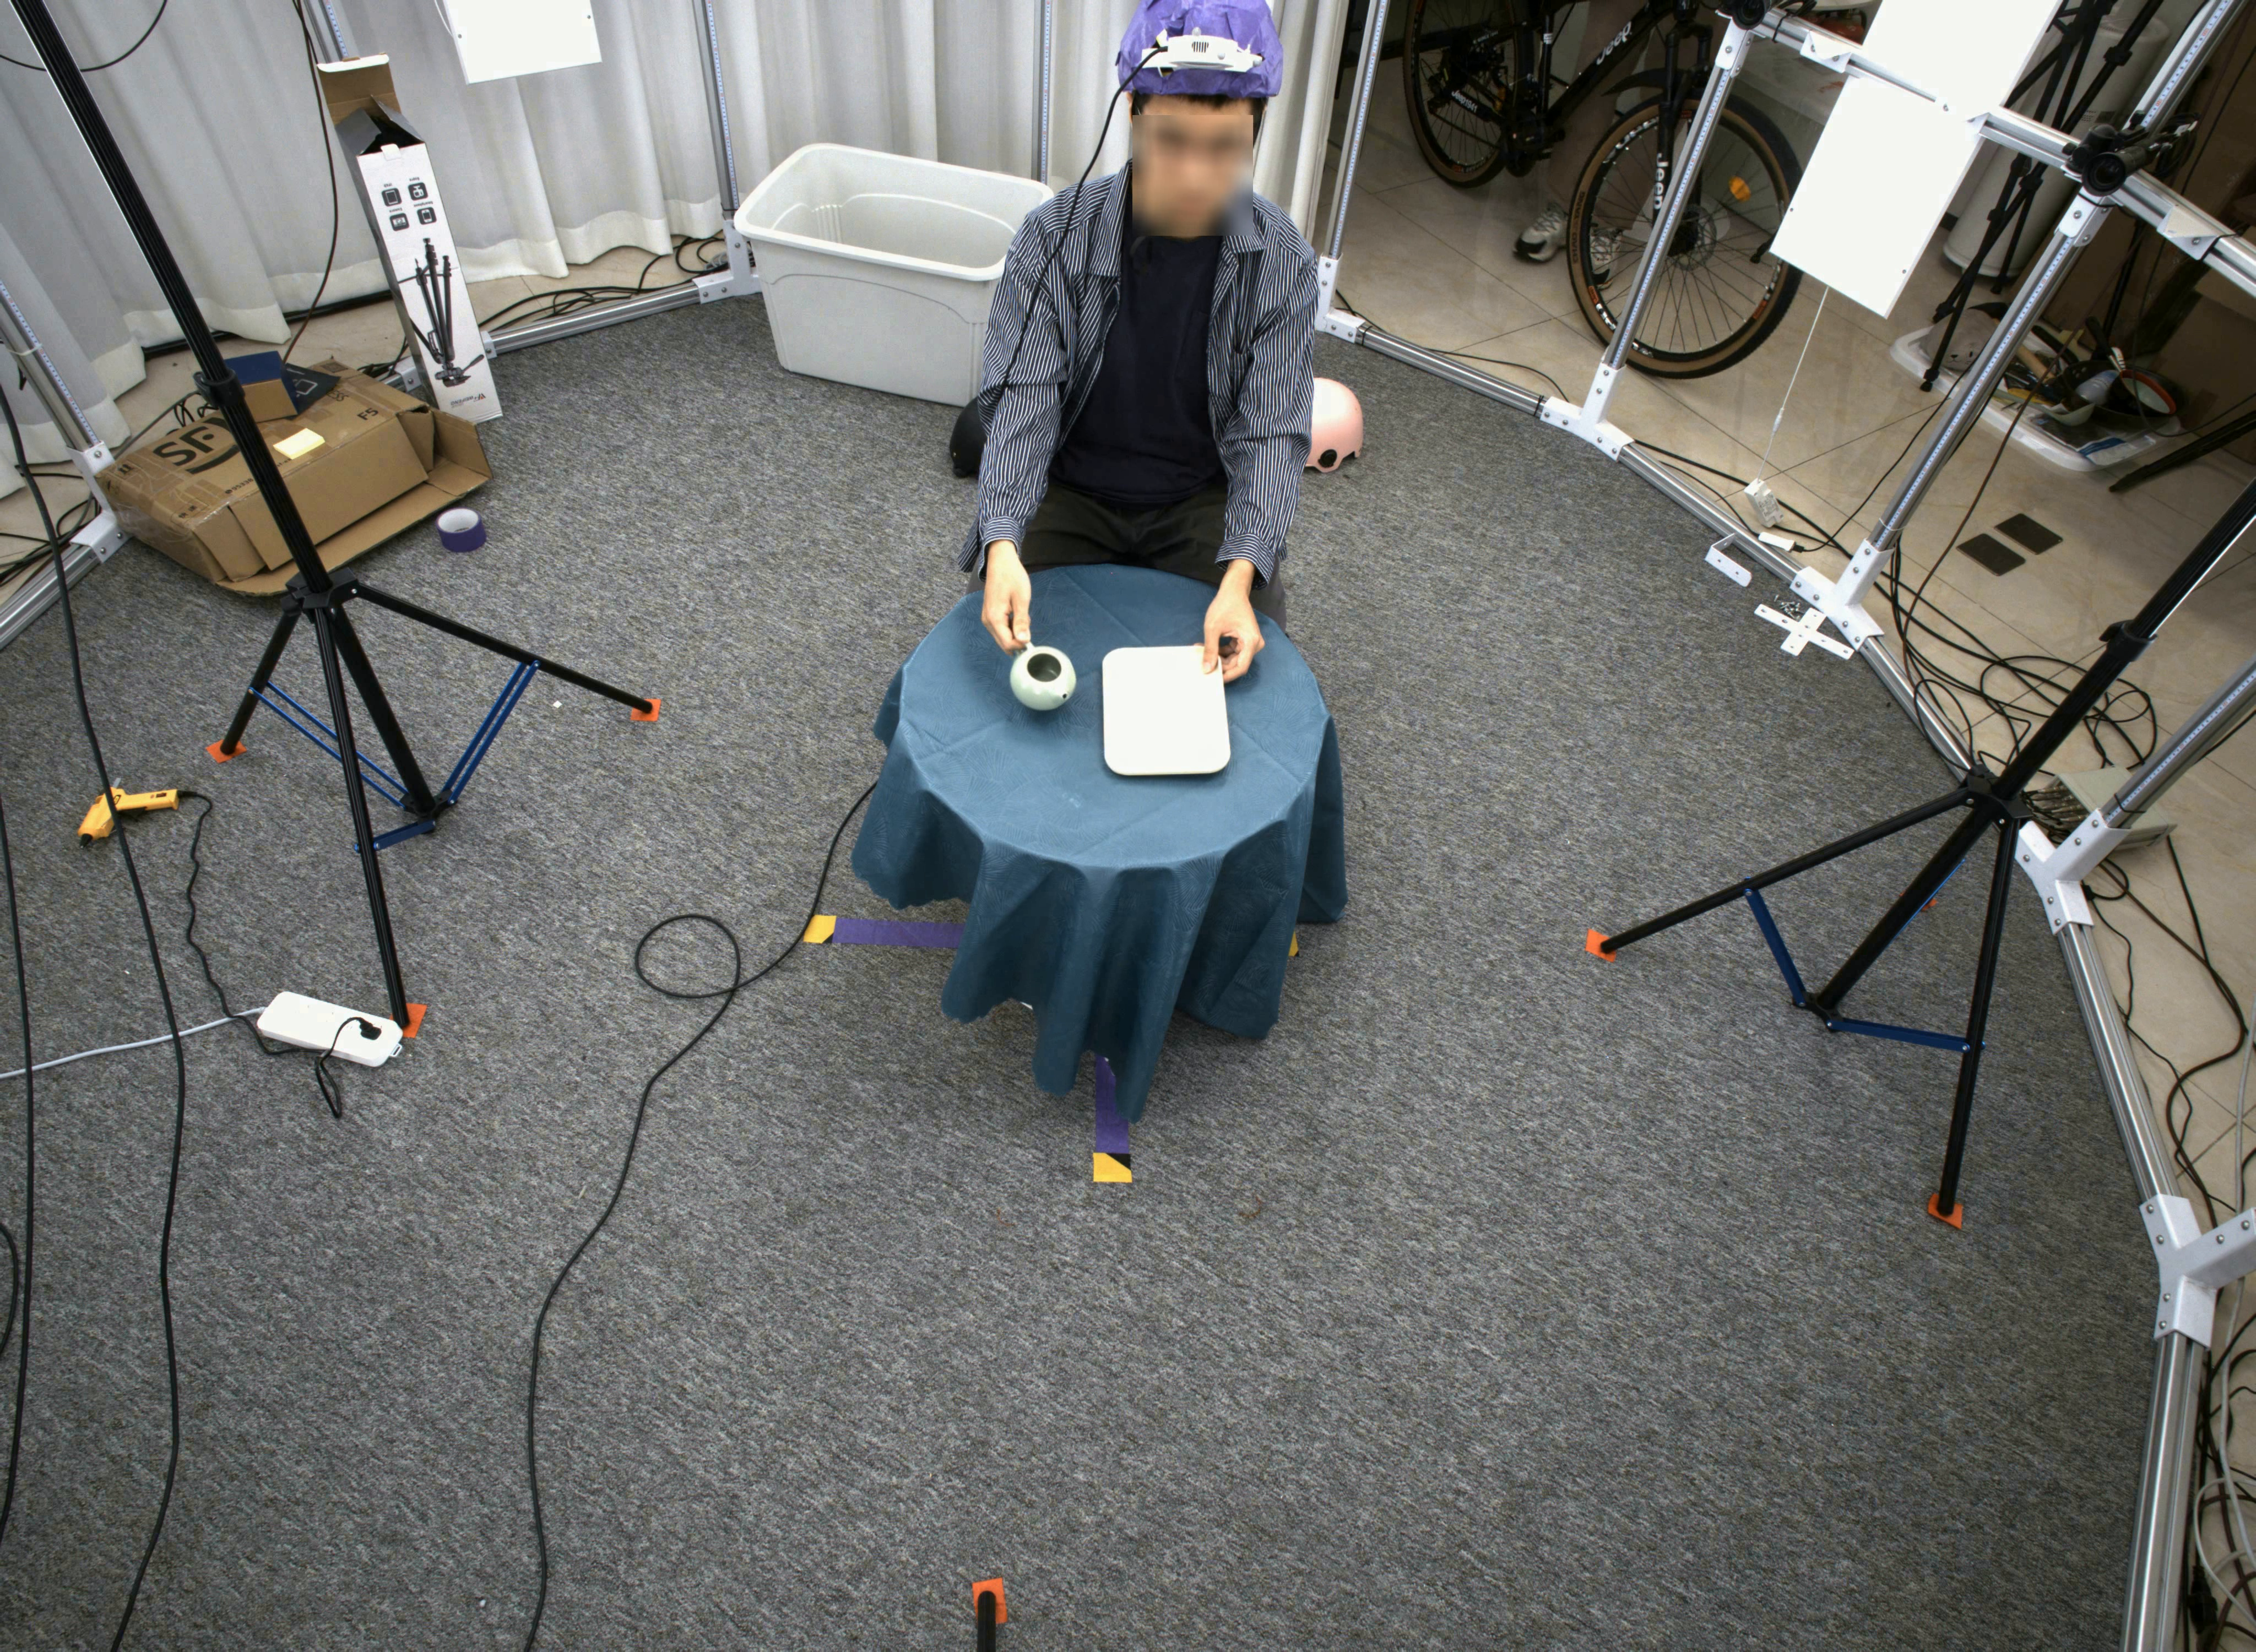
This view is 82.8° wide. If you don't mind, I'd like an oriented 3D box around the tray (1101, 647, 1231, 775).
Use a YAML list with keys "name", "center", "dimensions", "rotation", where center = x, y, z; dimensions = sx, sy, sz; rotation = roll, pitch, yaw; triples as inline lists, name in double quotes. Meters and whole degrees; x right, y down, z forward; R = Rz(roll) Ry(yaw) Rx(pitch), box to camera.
- name: "tray"
  center: [0.050, -0.162, 1.785]
  dimensions: [0.171, 0.017, 0.246]
  rotation: [-1, 49, -2]

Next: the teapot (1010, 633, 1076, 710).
- name: "teapot"
  center: [-0.121, -0.211, 1.761]
  dimensions: [0.092, 0.060, 0.130]
  rotation: [-24, 68, -17]
